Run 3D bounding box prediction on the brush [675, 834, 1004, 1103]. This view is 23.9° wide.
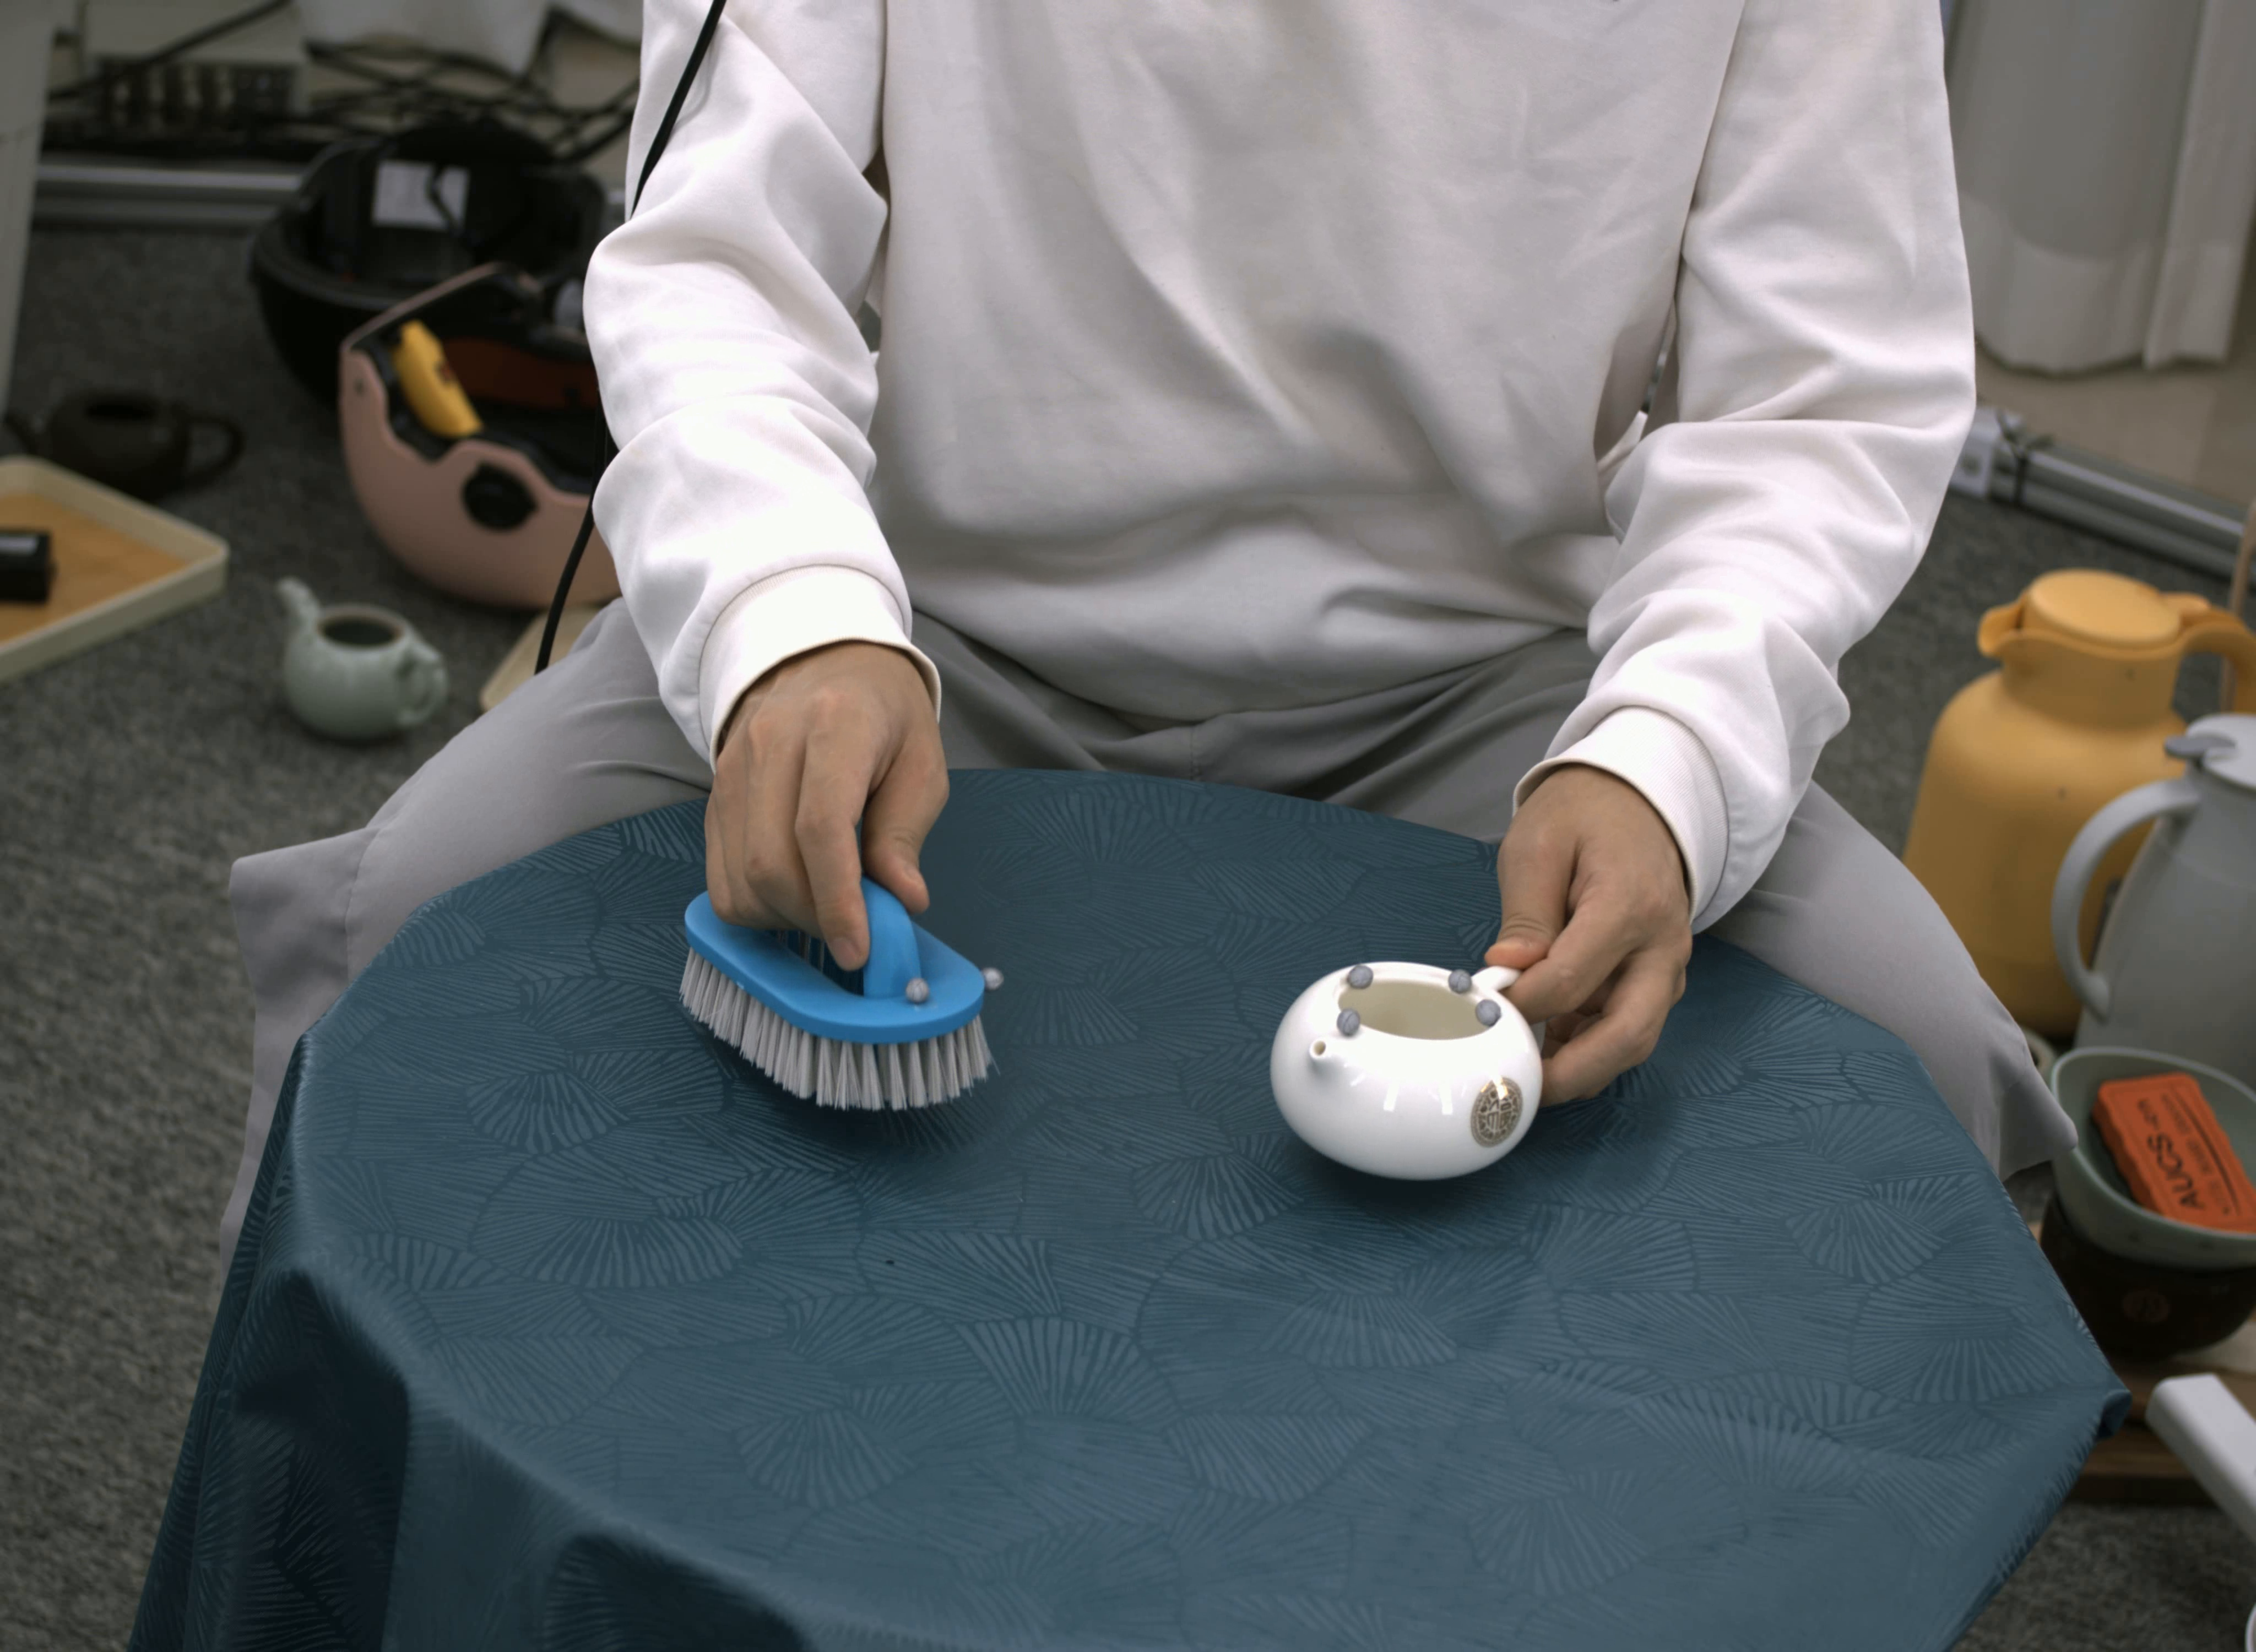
[{"bbox_3d":[-0.103,0.042,1.837,0.084,0.063,0.143,-18,26,-28],"label":"brush"}]

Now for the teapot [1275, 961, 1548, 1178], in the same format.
[{"bbox_3d":[0.103,0.081,1.832,0.094,0.056,0.127,18,25,34],"label":"teapot"}]
